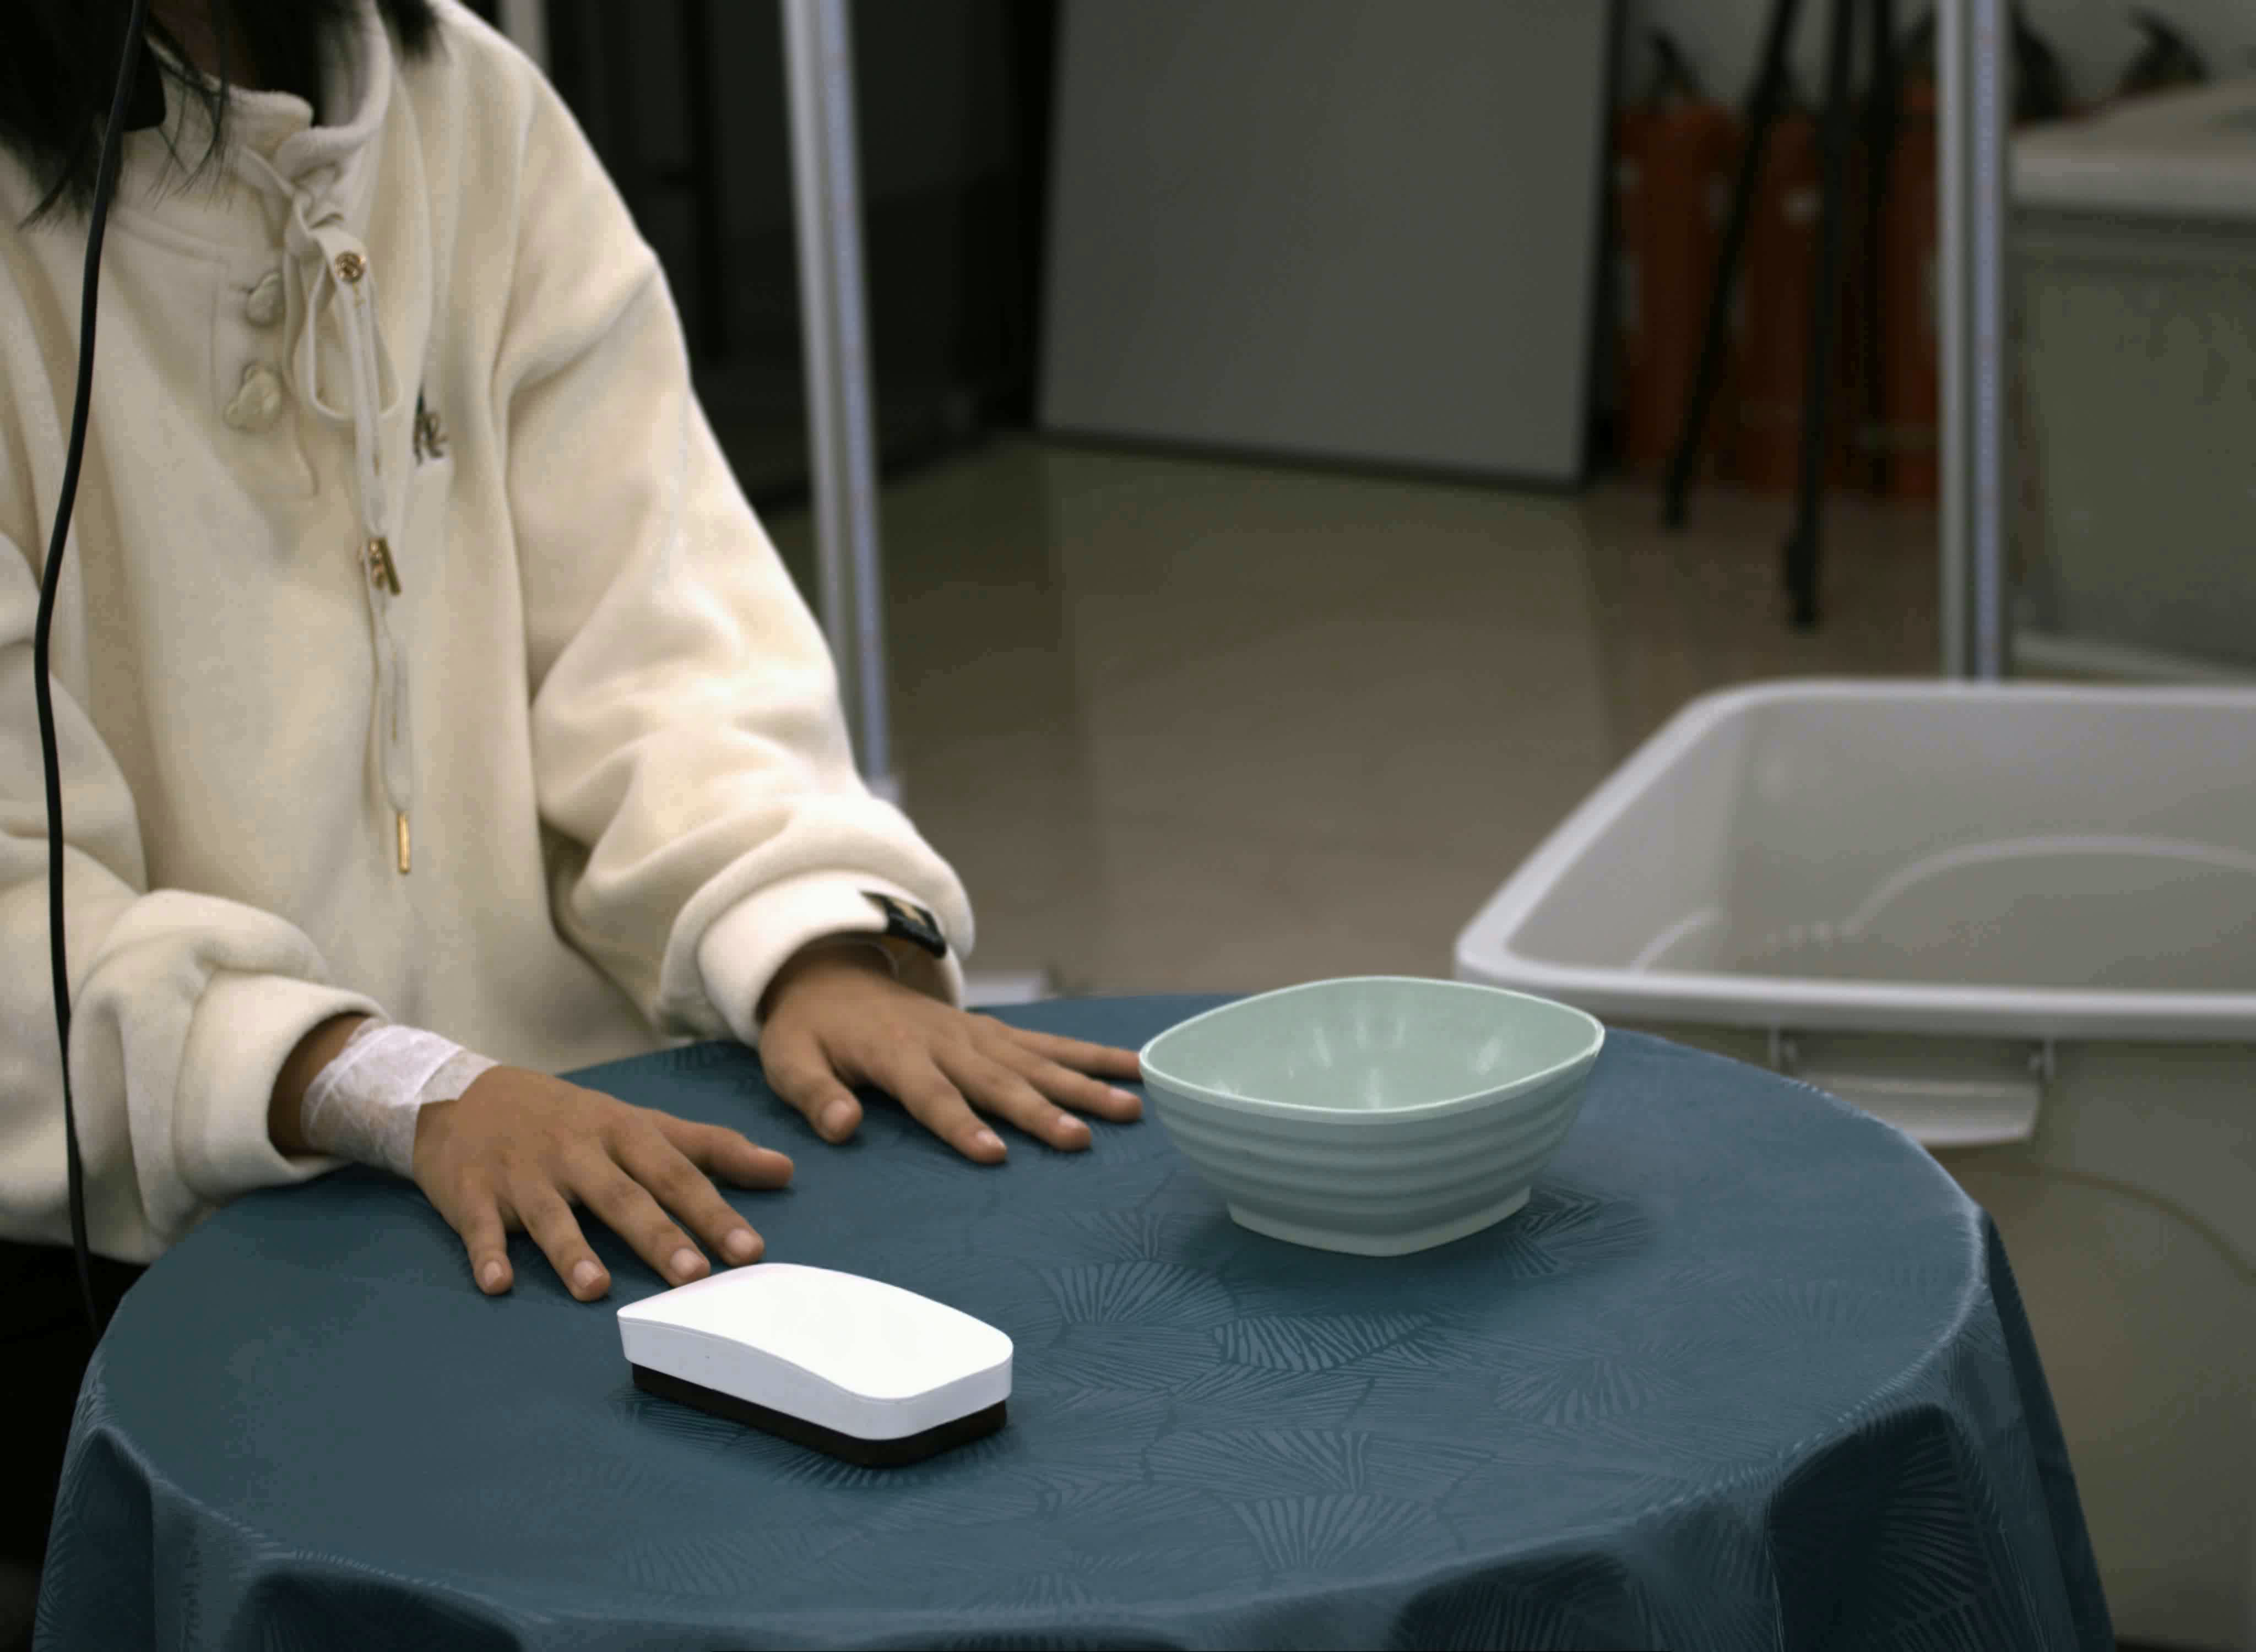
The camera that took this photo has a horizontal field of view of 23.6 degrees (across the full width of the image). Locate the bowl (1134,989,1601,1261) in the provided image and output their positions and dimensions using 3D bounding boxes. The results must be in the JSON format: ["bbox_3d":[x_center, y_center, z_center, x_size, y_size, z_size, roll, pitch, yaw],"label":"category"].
[{"bbox_3d":[0.078,0.098,1.726,0.149,0.059,0.151,-3,12,0],"label":"bowl"}]

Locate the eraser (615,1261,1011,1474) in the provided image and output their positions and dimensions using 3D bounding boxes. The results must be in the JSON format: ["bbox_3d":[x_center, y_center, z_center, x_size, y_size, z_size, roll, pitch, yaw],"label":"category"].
[{"bbox_3d":[-0.092,0.156,1.590,0.062,0.035,0.132,-15,18,-39],"label":"eraser"}]
